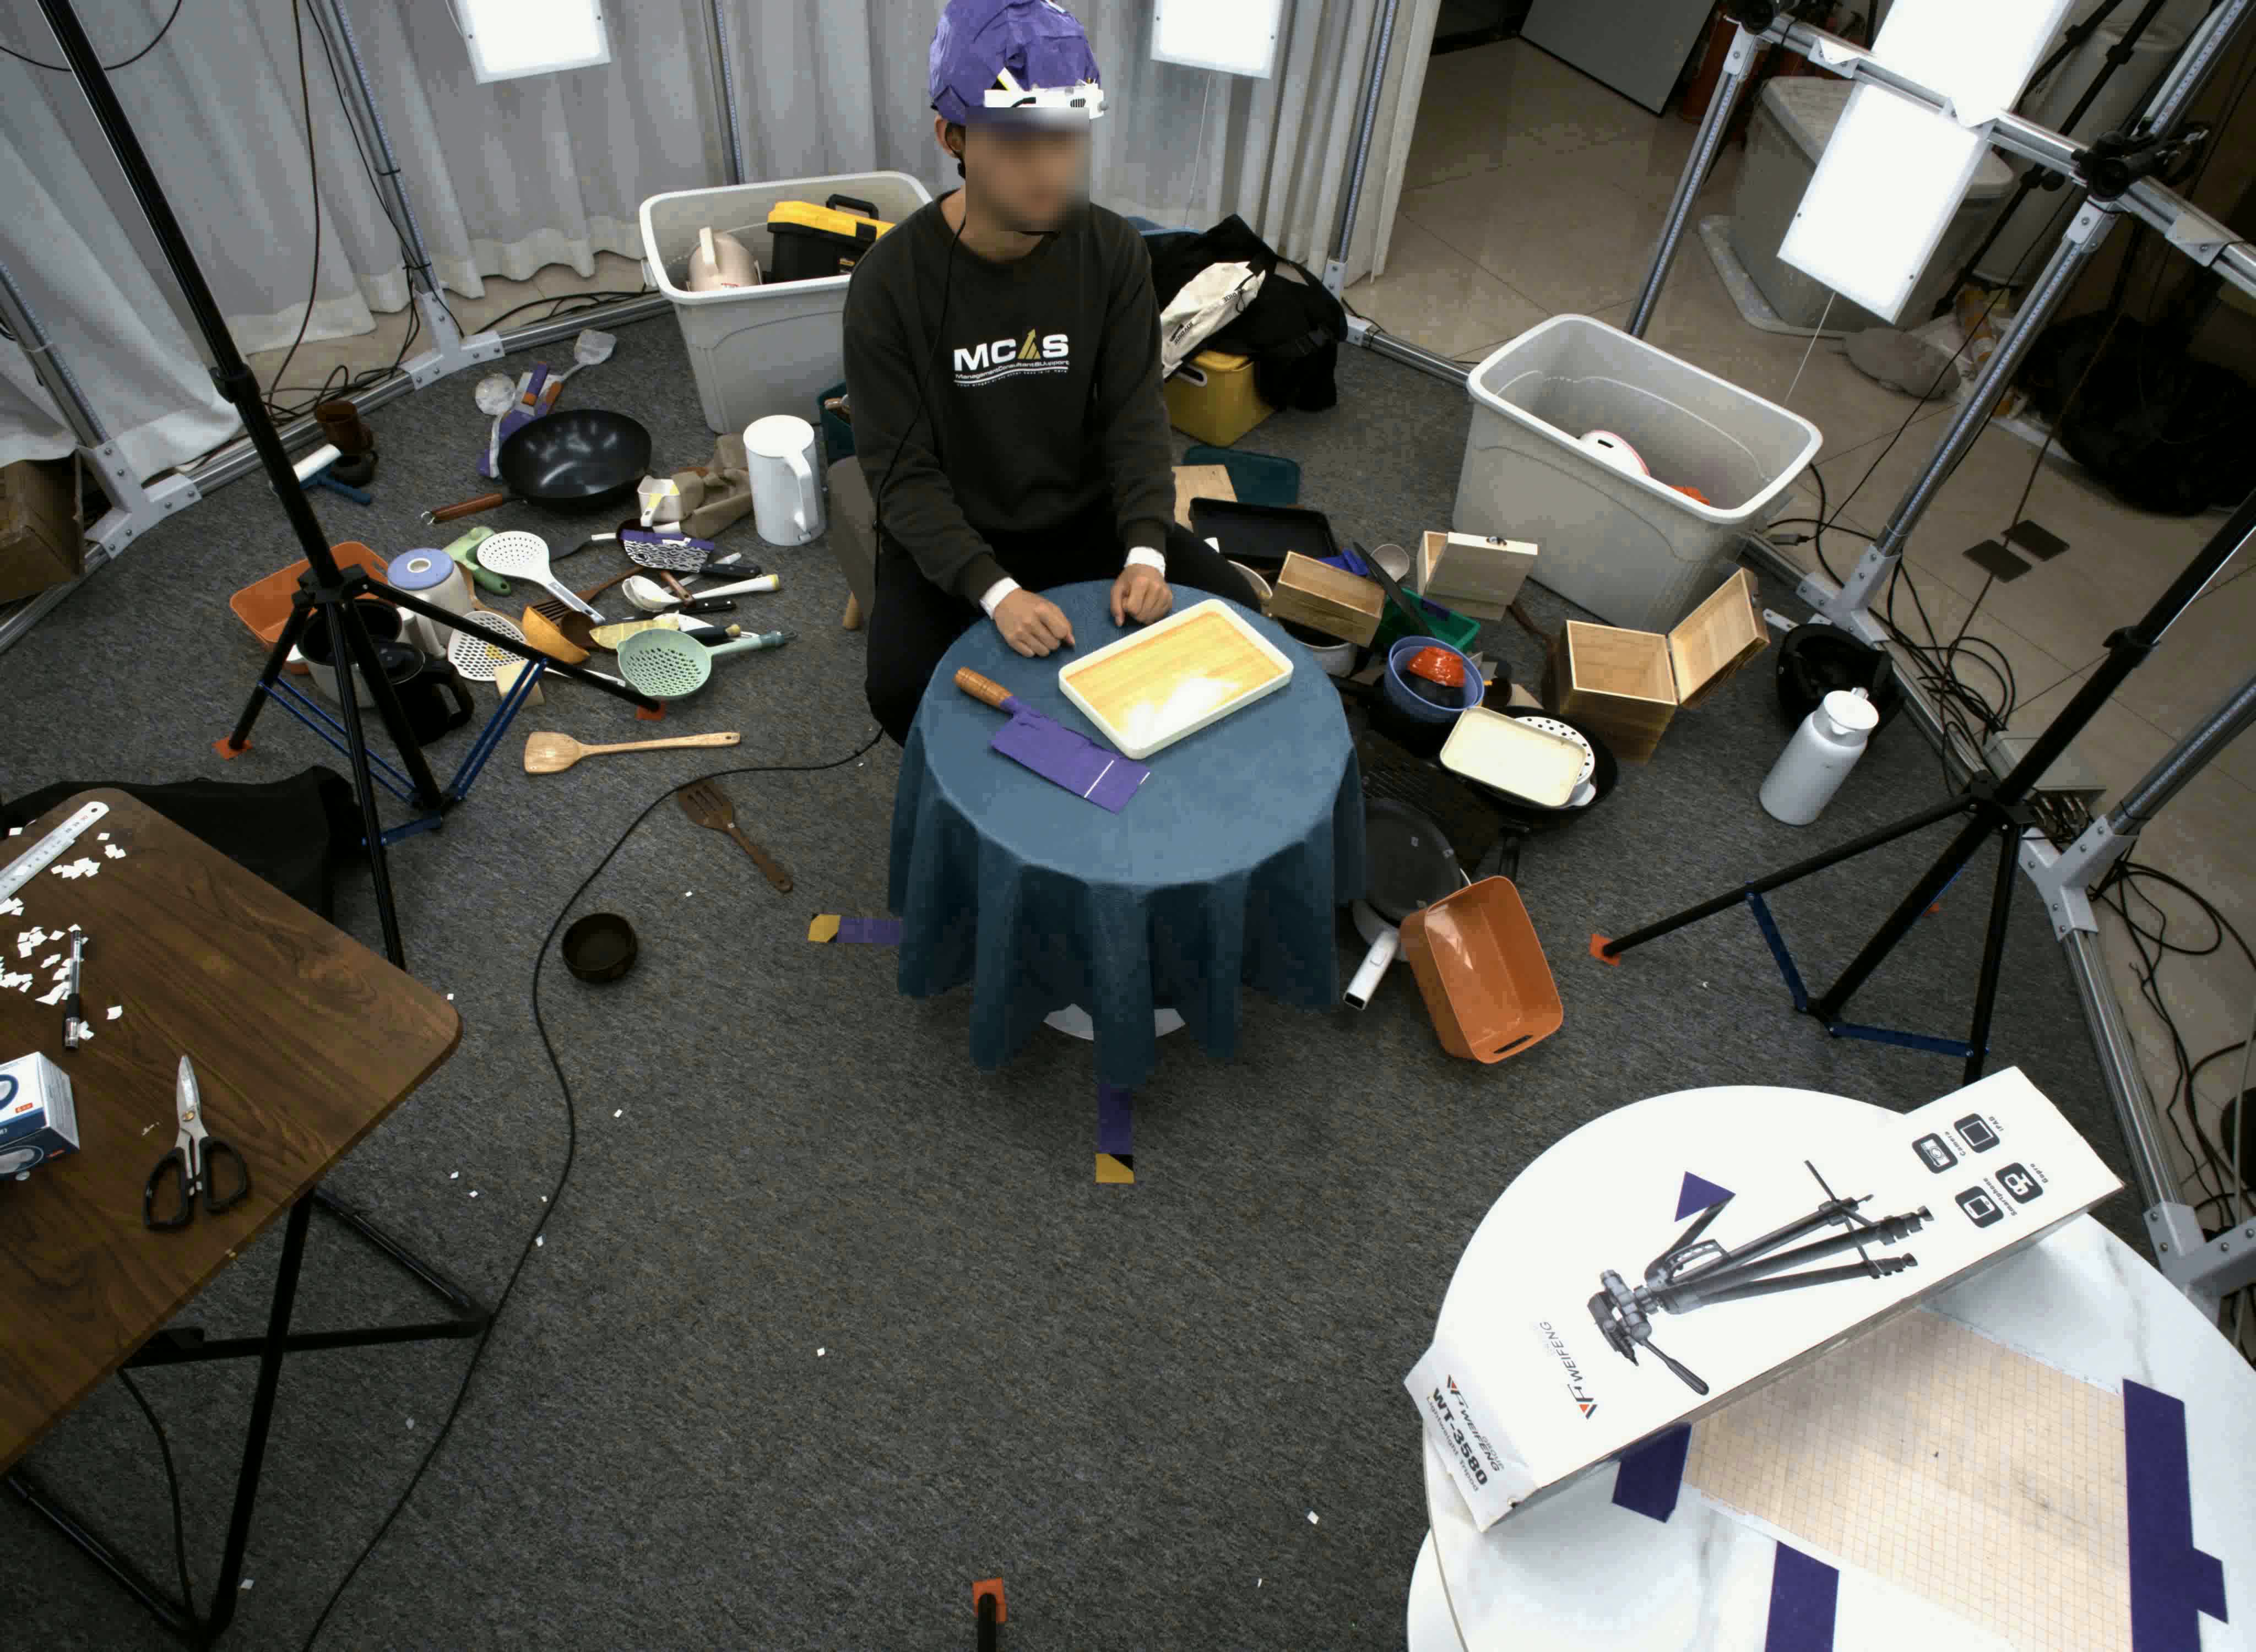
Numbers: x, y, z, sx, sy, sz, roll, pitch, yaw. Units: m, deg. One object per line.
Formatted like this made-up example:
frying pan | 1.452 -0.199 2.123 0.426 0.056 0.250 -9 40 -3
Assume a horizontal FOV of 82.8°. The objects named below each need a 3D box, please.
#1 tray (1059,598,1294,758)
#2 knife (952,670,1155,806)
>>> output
tray | 0.070 -0.218 1.843 0.302 0.027 0.195 -28 56 -25
knife | -0.121 -0.121 1.746 0.318 0.031 0.105 27 52 18
